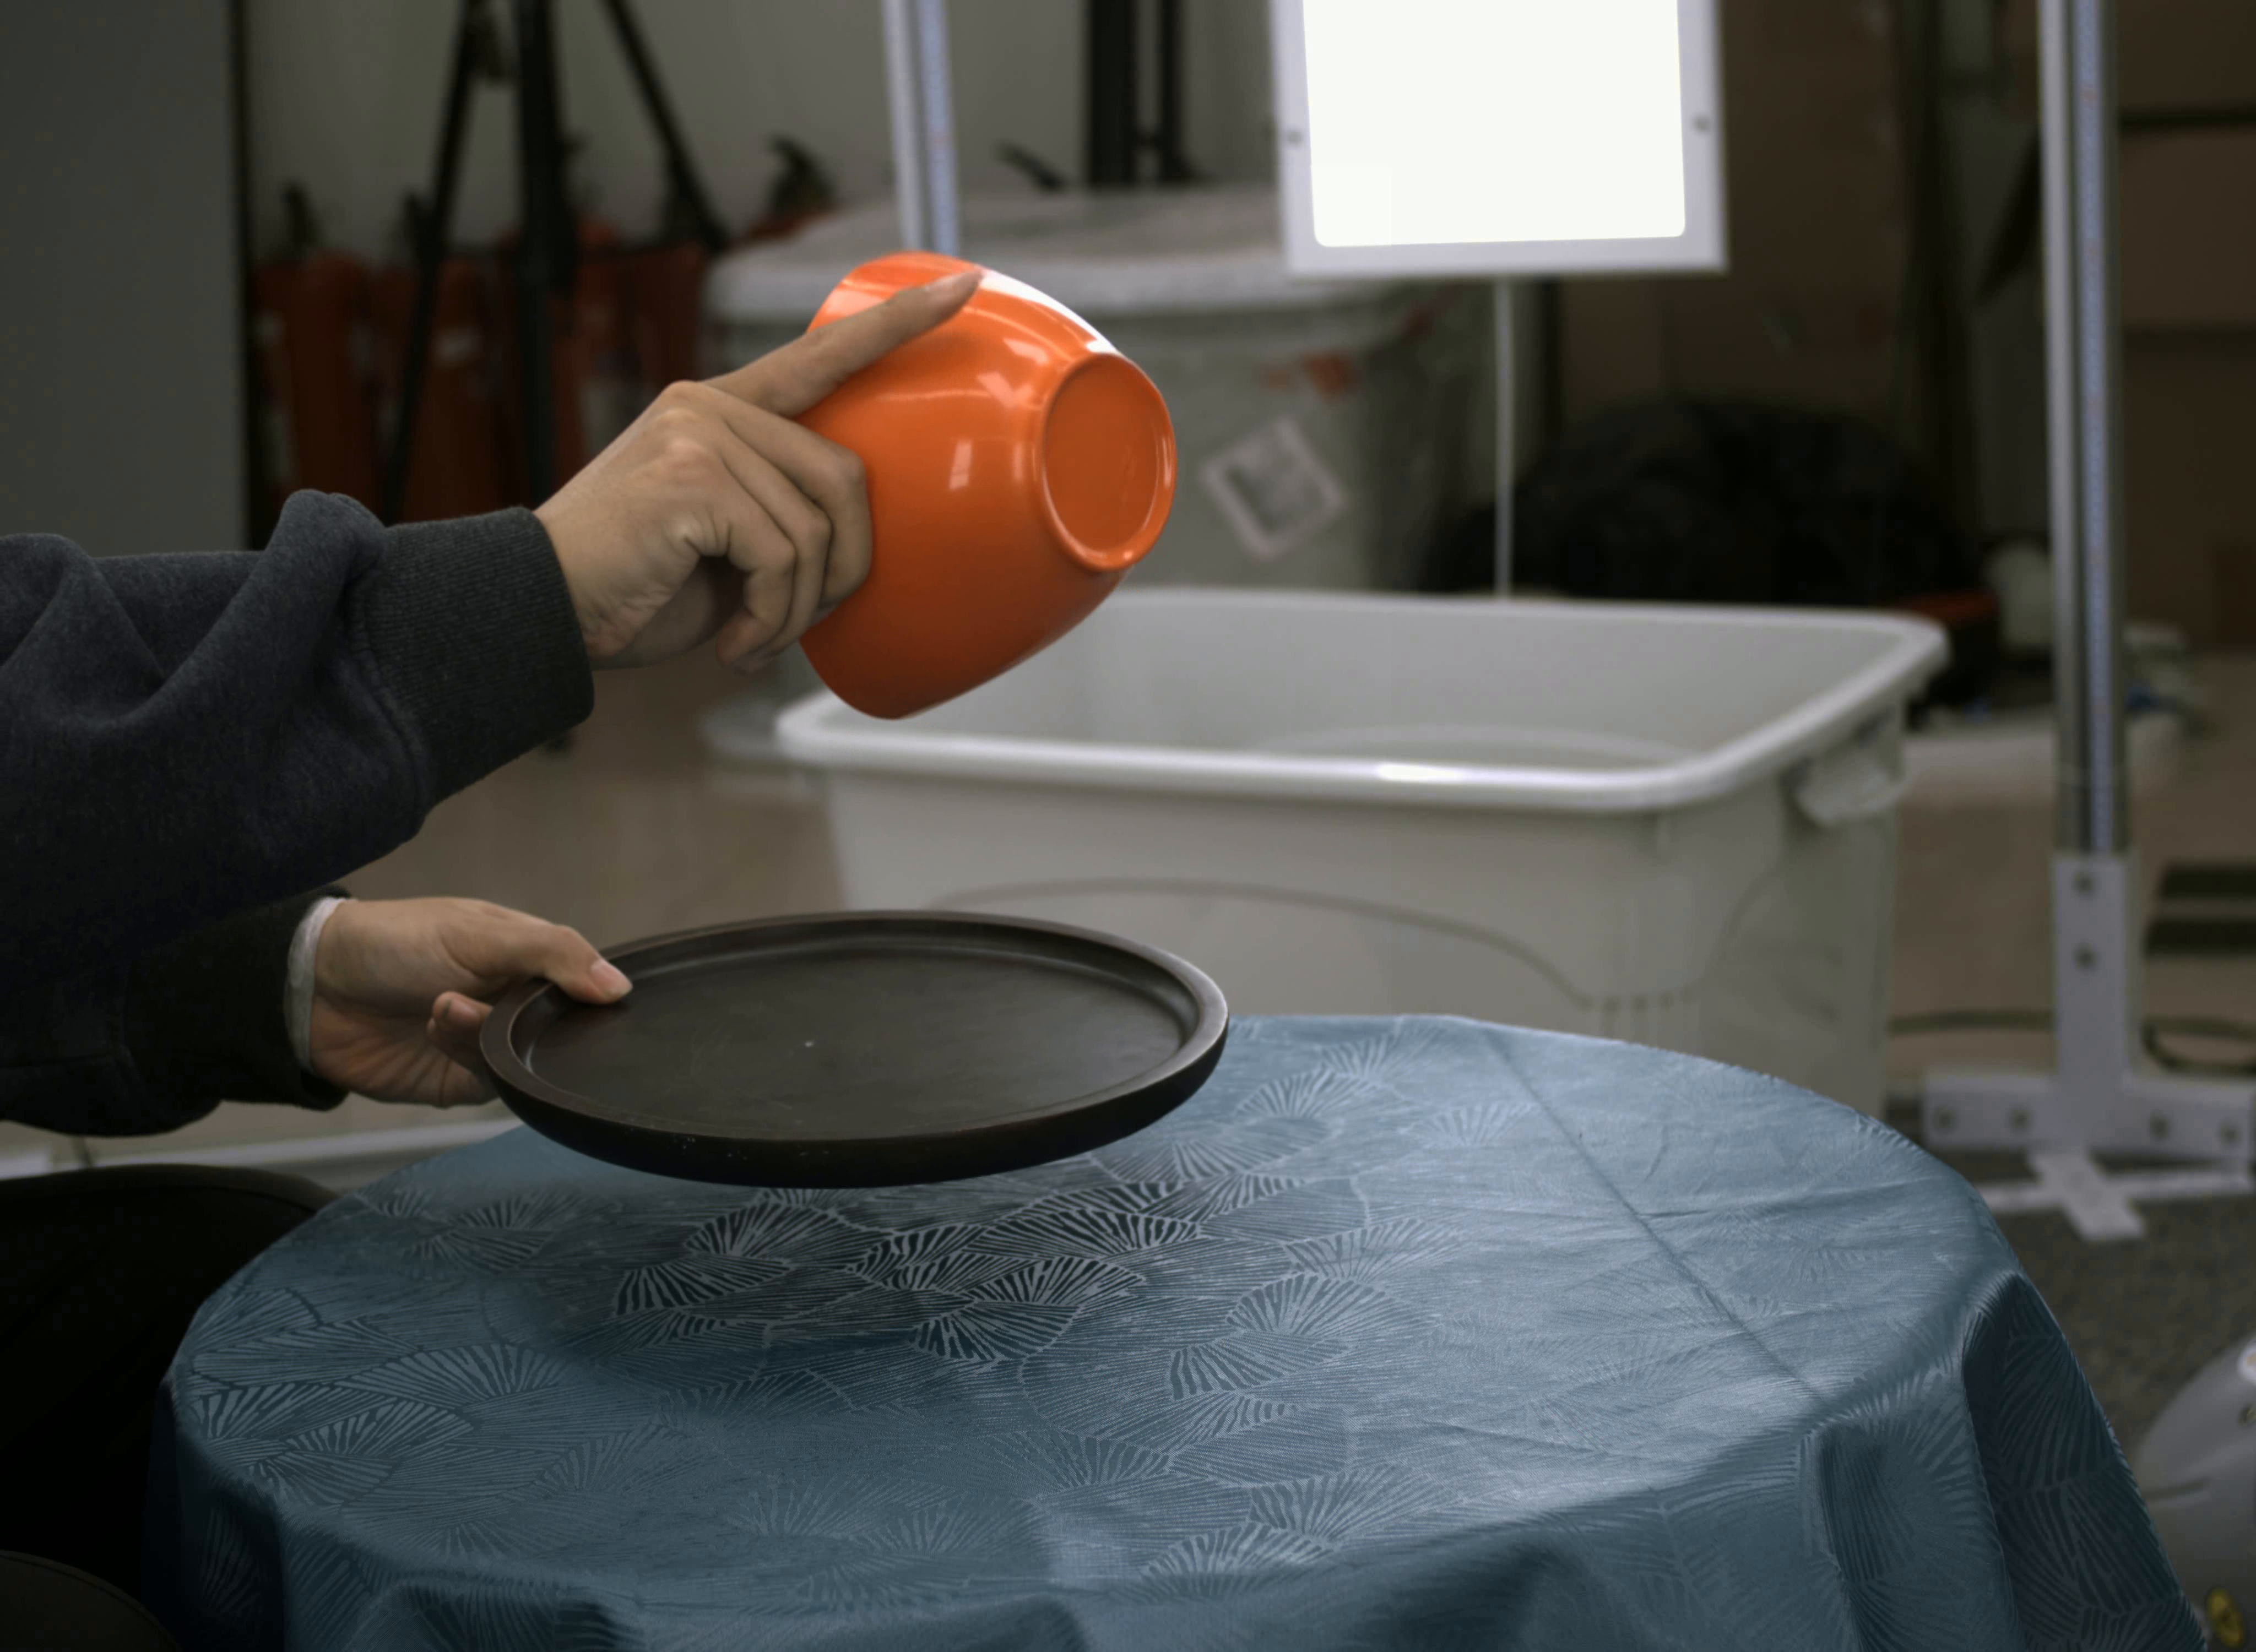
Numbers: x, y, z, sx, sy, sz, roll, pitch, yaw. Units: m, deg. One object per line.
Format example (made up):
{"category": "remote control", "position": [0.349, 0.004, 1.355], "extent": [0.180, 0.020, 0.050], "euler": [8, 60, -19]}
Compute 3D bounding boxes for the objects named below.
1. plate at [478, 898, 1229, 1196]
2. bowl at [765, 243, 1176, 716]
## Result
{"category": "plate", "position": [-0.092, 0.074, 1.853], "extent": [0.254, 0.029, 0.254], "euler": [-3, 17, -1]}
{"category": "bowl", "position": [-0.038, -0.107, 1.693], "extent": [0.107, 0.148, 0.144], "euler": [3, 15, 42]}
